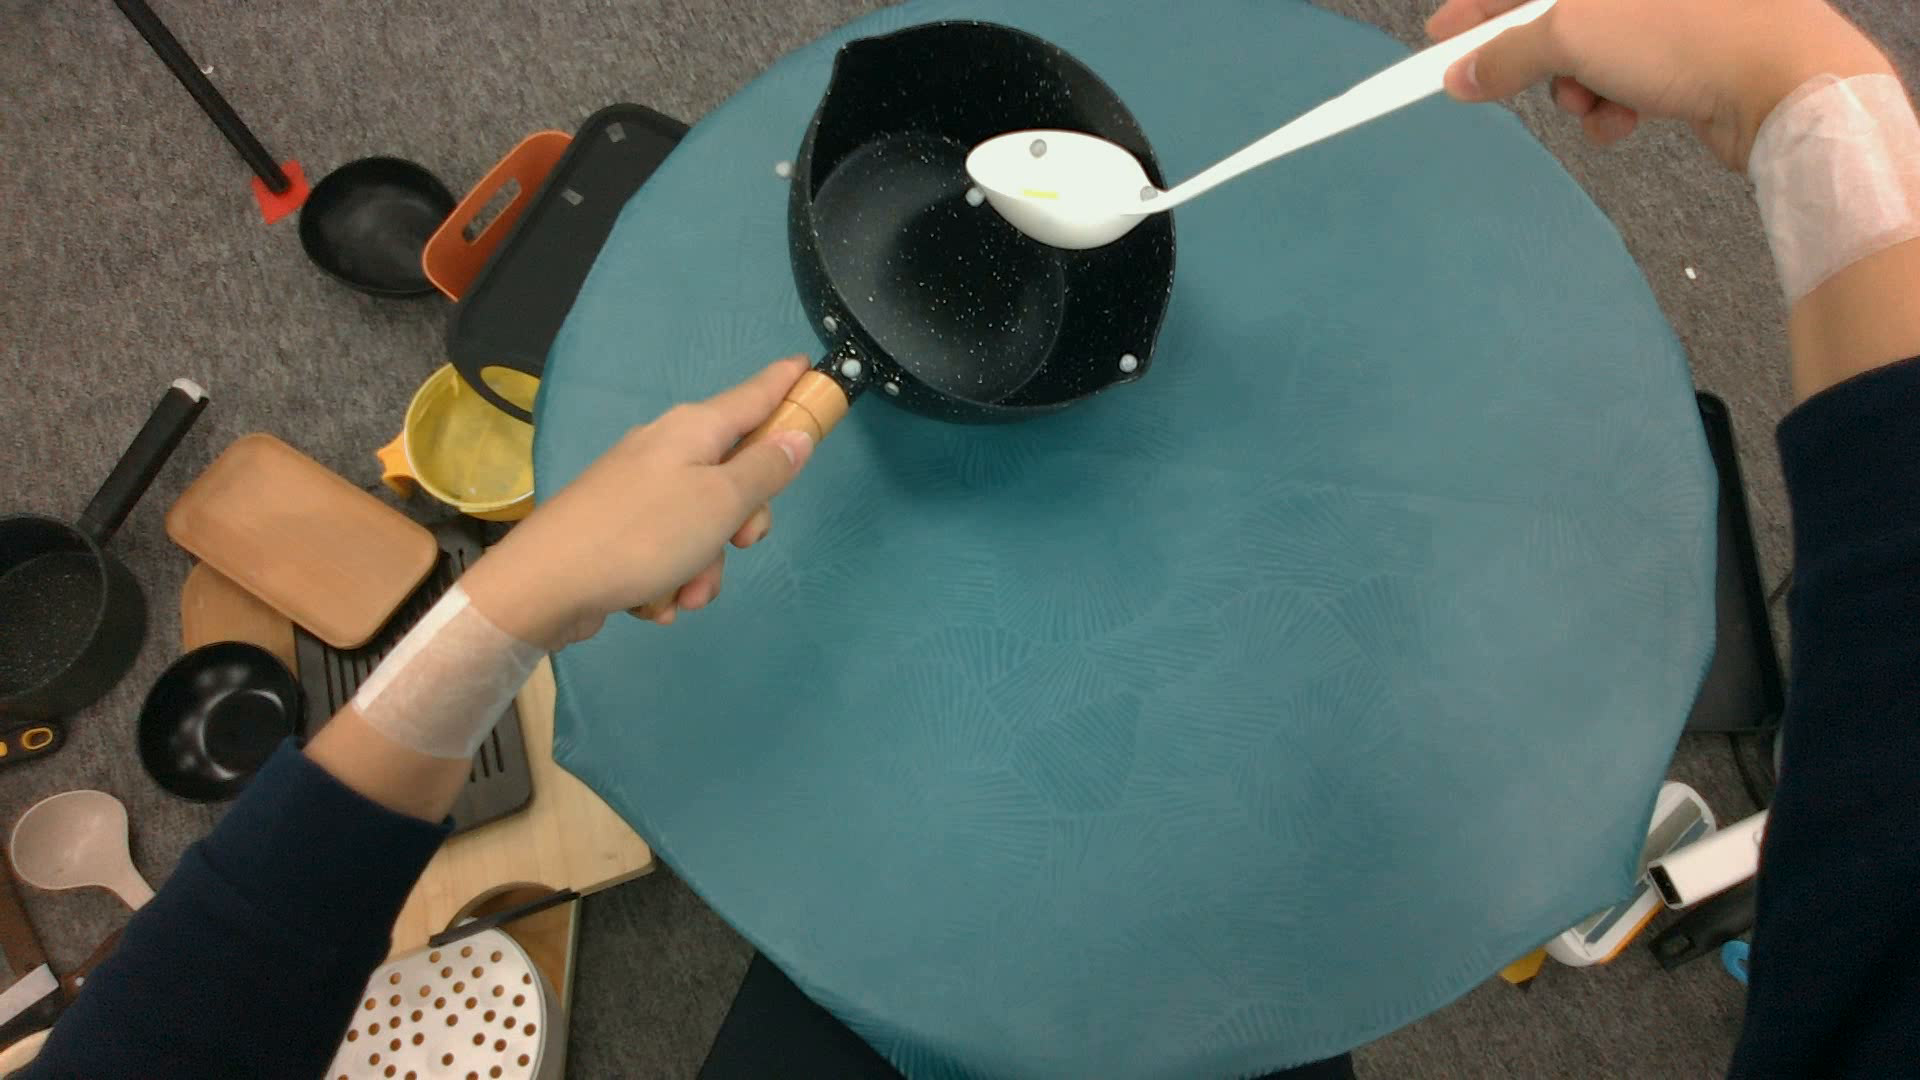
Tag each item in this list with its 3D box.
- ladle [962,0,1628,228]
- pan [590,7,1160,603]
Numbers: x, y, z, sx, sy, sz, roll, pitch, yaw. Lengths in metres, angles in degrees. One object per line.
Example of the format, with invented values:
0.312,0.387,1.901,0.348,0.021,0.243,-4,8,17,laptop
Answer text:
0.123,-0.191,0.581,0.090,0.292,0.070,-22,100,-42,ladle
-0.047,-0.094,0.624,0.207,0.108,0.344,44,66,-12,pan
